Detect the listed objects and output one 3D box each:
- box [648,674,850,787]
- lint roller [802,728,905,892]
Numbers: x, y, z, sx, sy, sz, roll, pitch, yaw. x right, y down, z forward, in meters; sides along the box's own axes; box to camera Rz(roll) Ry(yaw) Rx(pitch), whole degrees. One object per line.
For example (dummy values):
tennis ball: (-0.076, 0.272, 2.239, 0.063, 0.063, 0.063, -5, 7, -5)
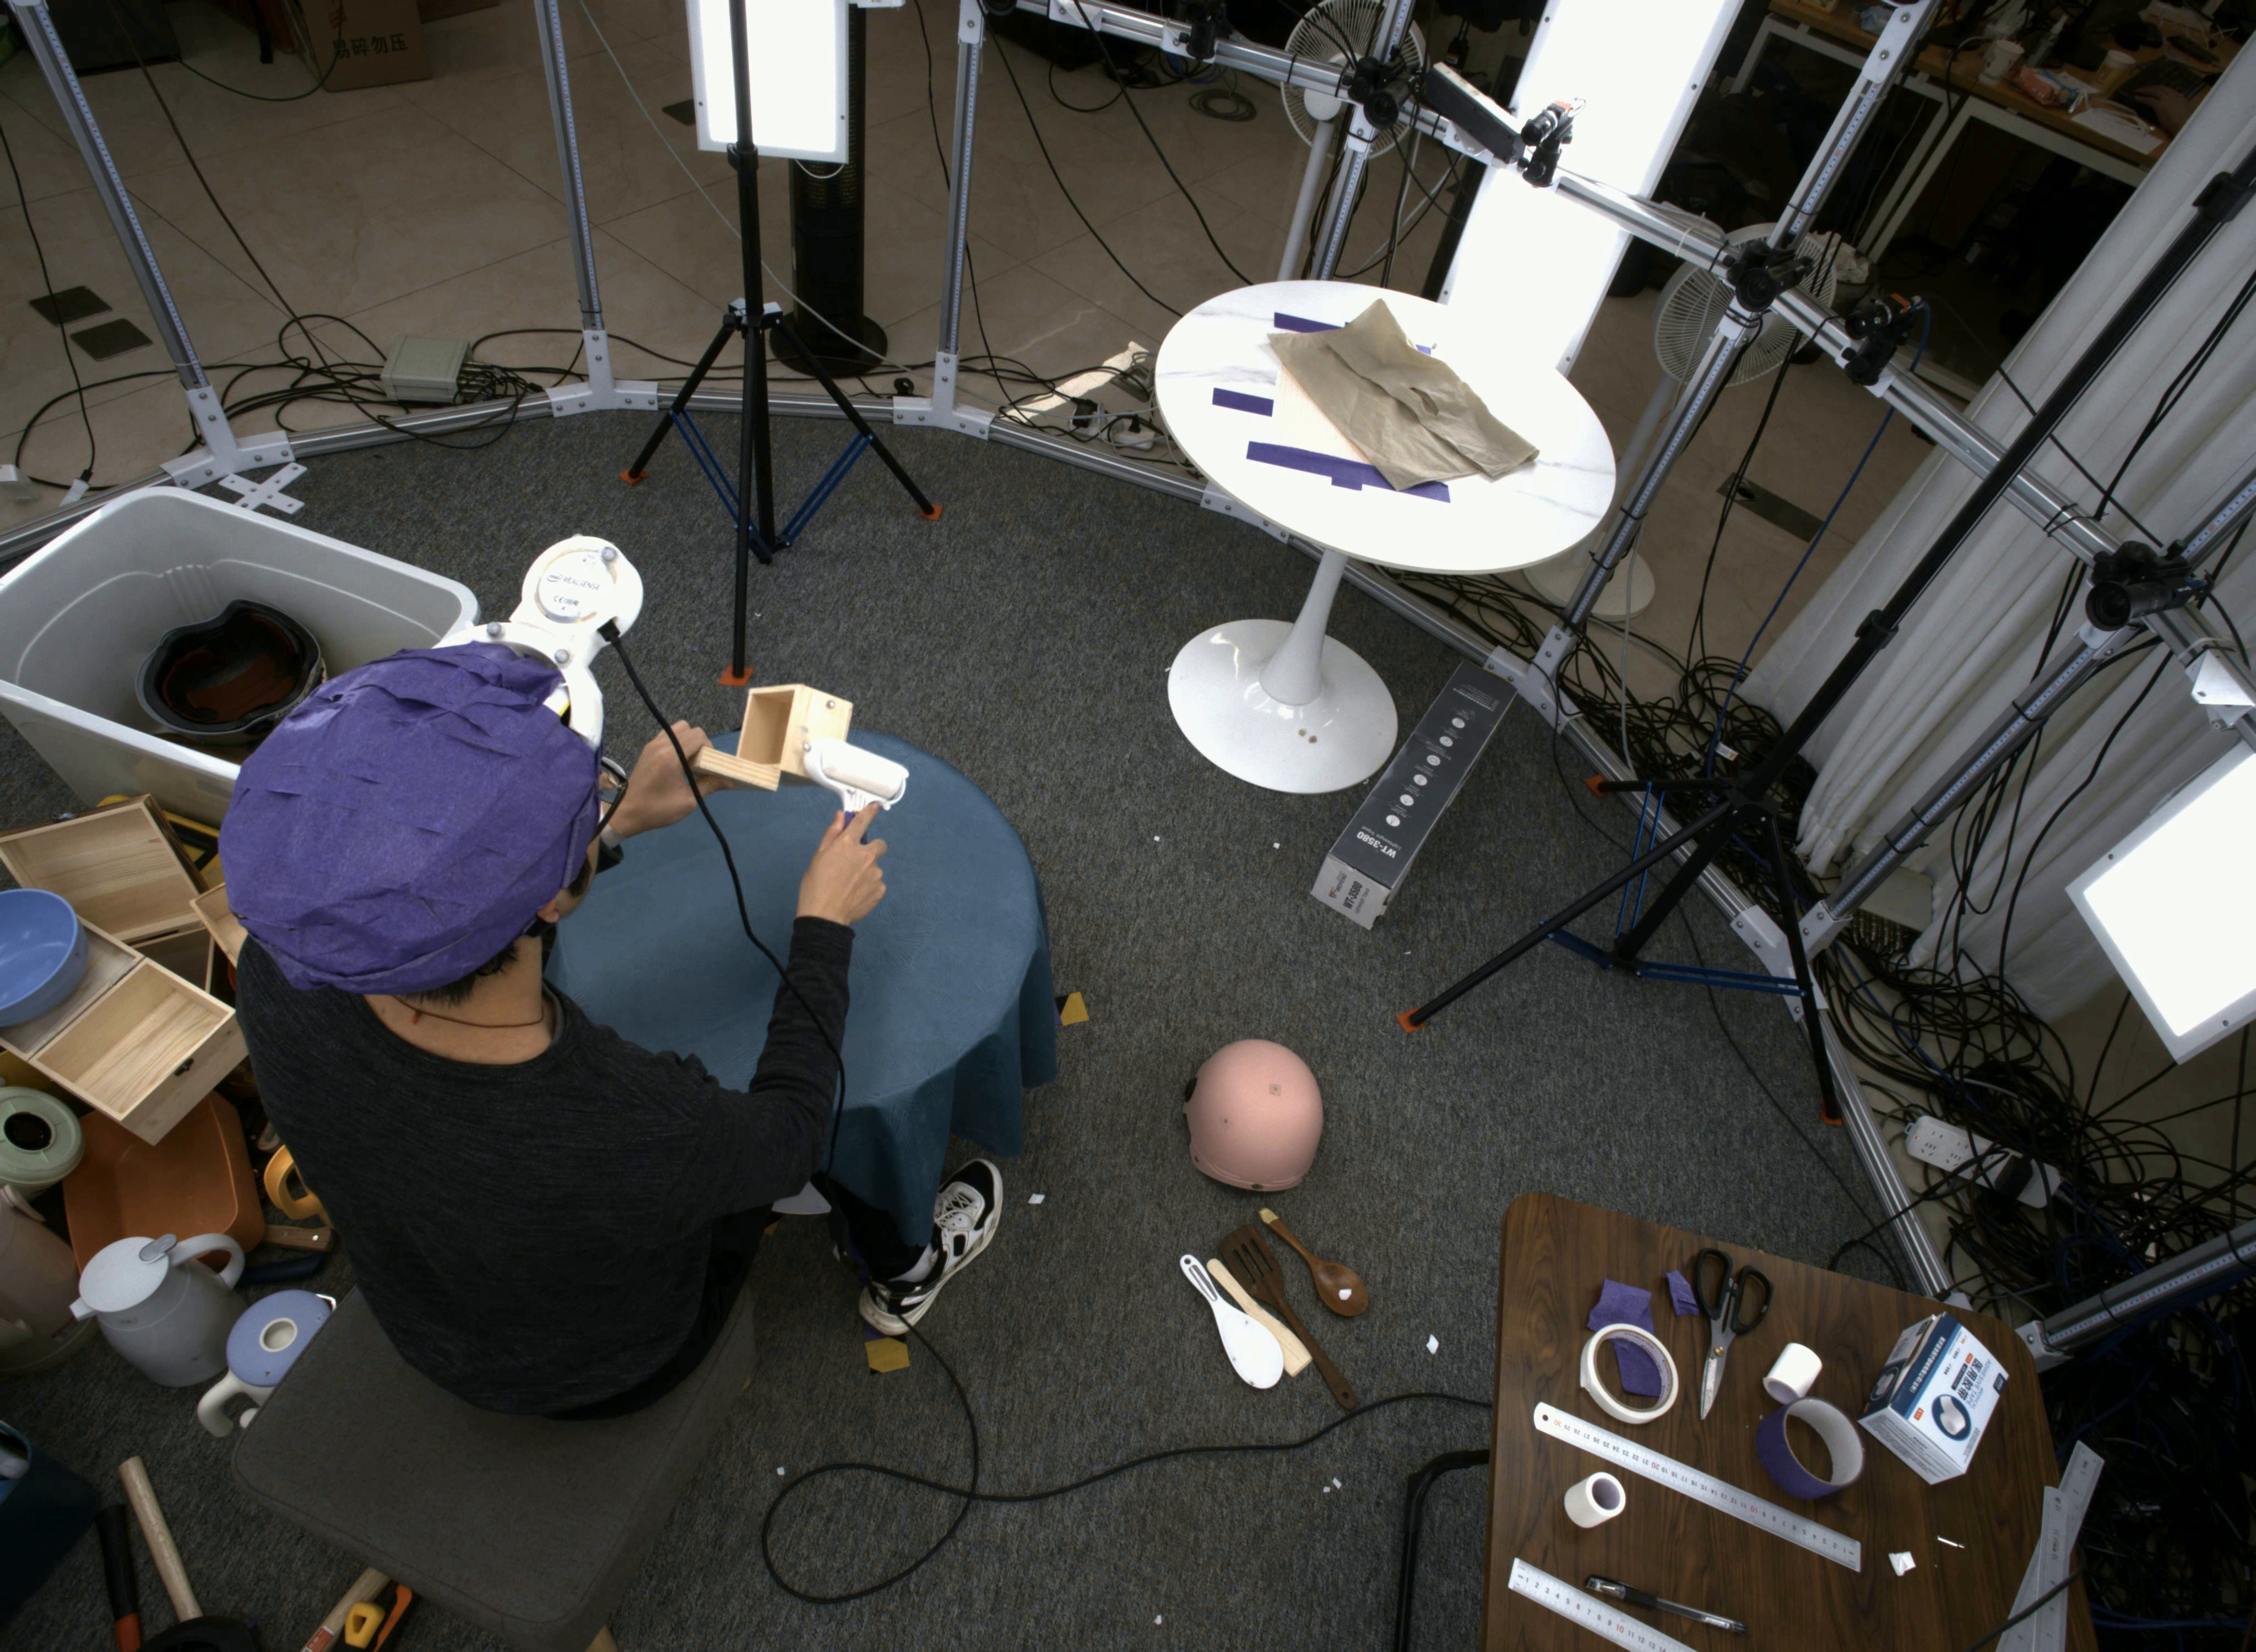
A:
box: (-0.426, -0.112, 1.456, 0.190, 0.099, 0.134, 19, 77, -48)
lint roller: (-0.304, -0.017, 1.455, 0.137, 0.049, 0.178, 25, 47, -48)
